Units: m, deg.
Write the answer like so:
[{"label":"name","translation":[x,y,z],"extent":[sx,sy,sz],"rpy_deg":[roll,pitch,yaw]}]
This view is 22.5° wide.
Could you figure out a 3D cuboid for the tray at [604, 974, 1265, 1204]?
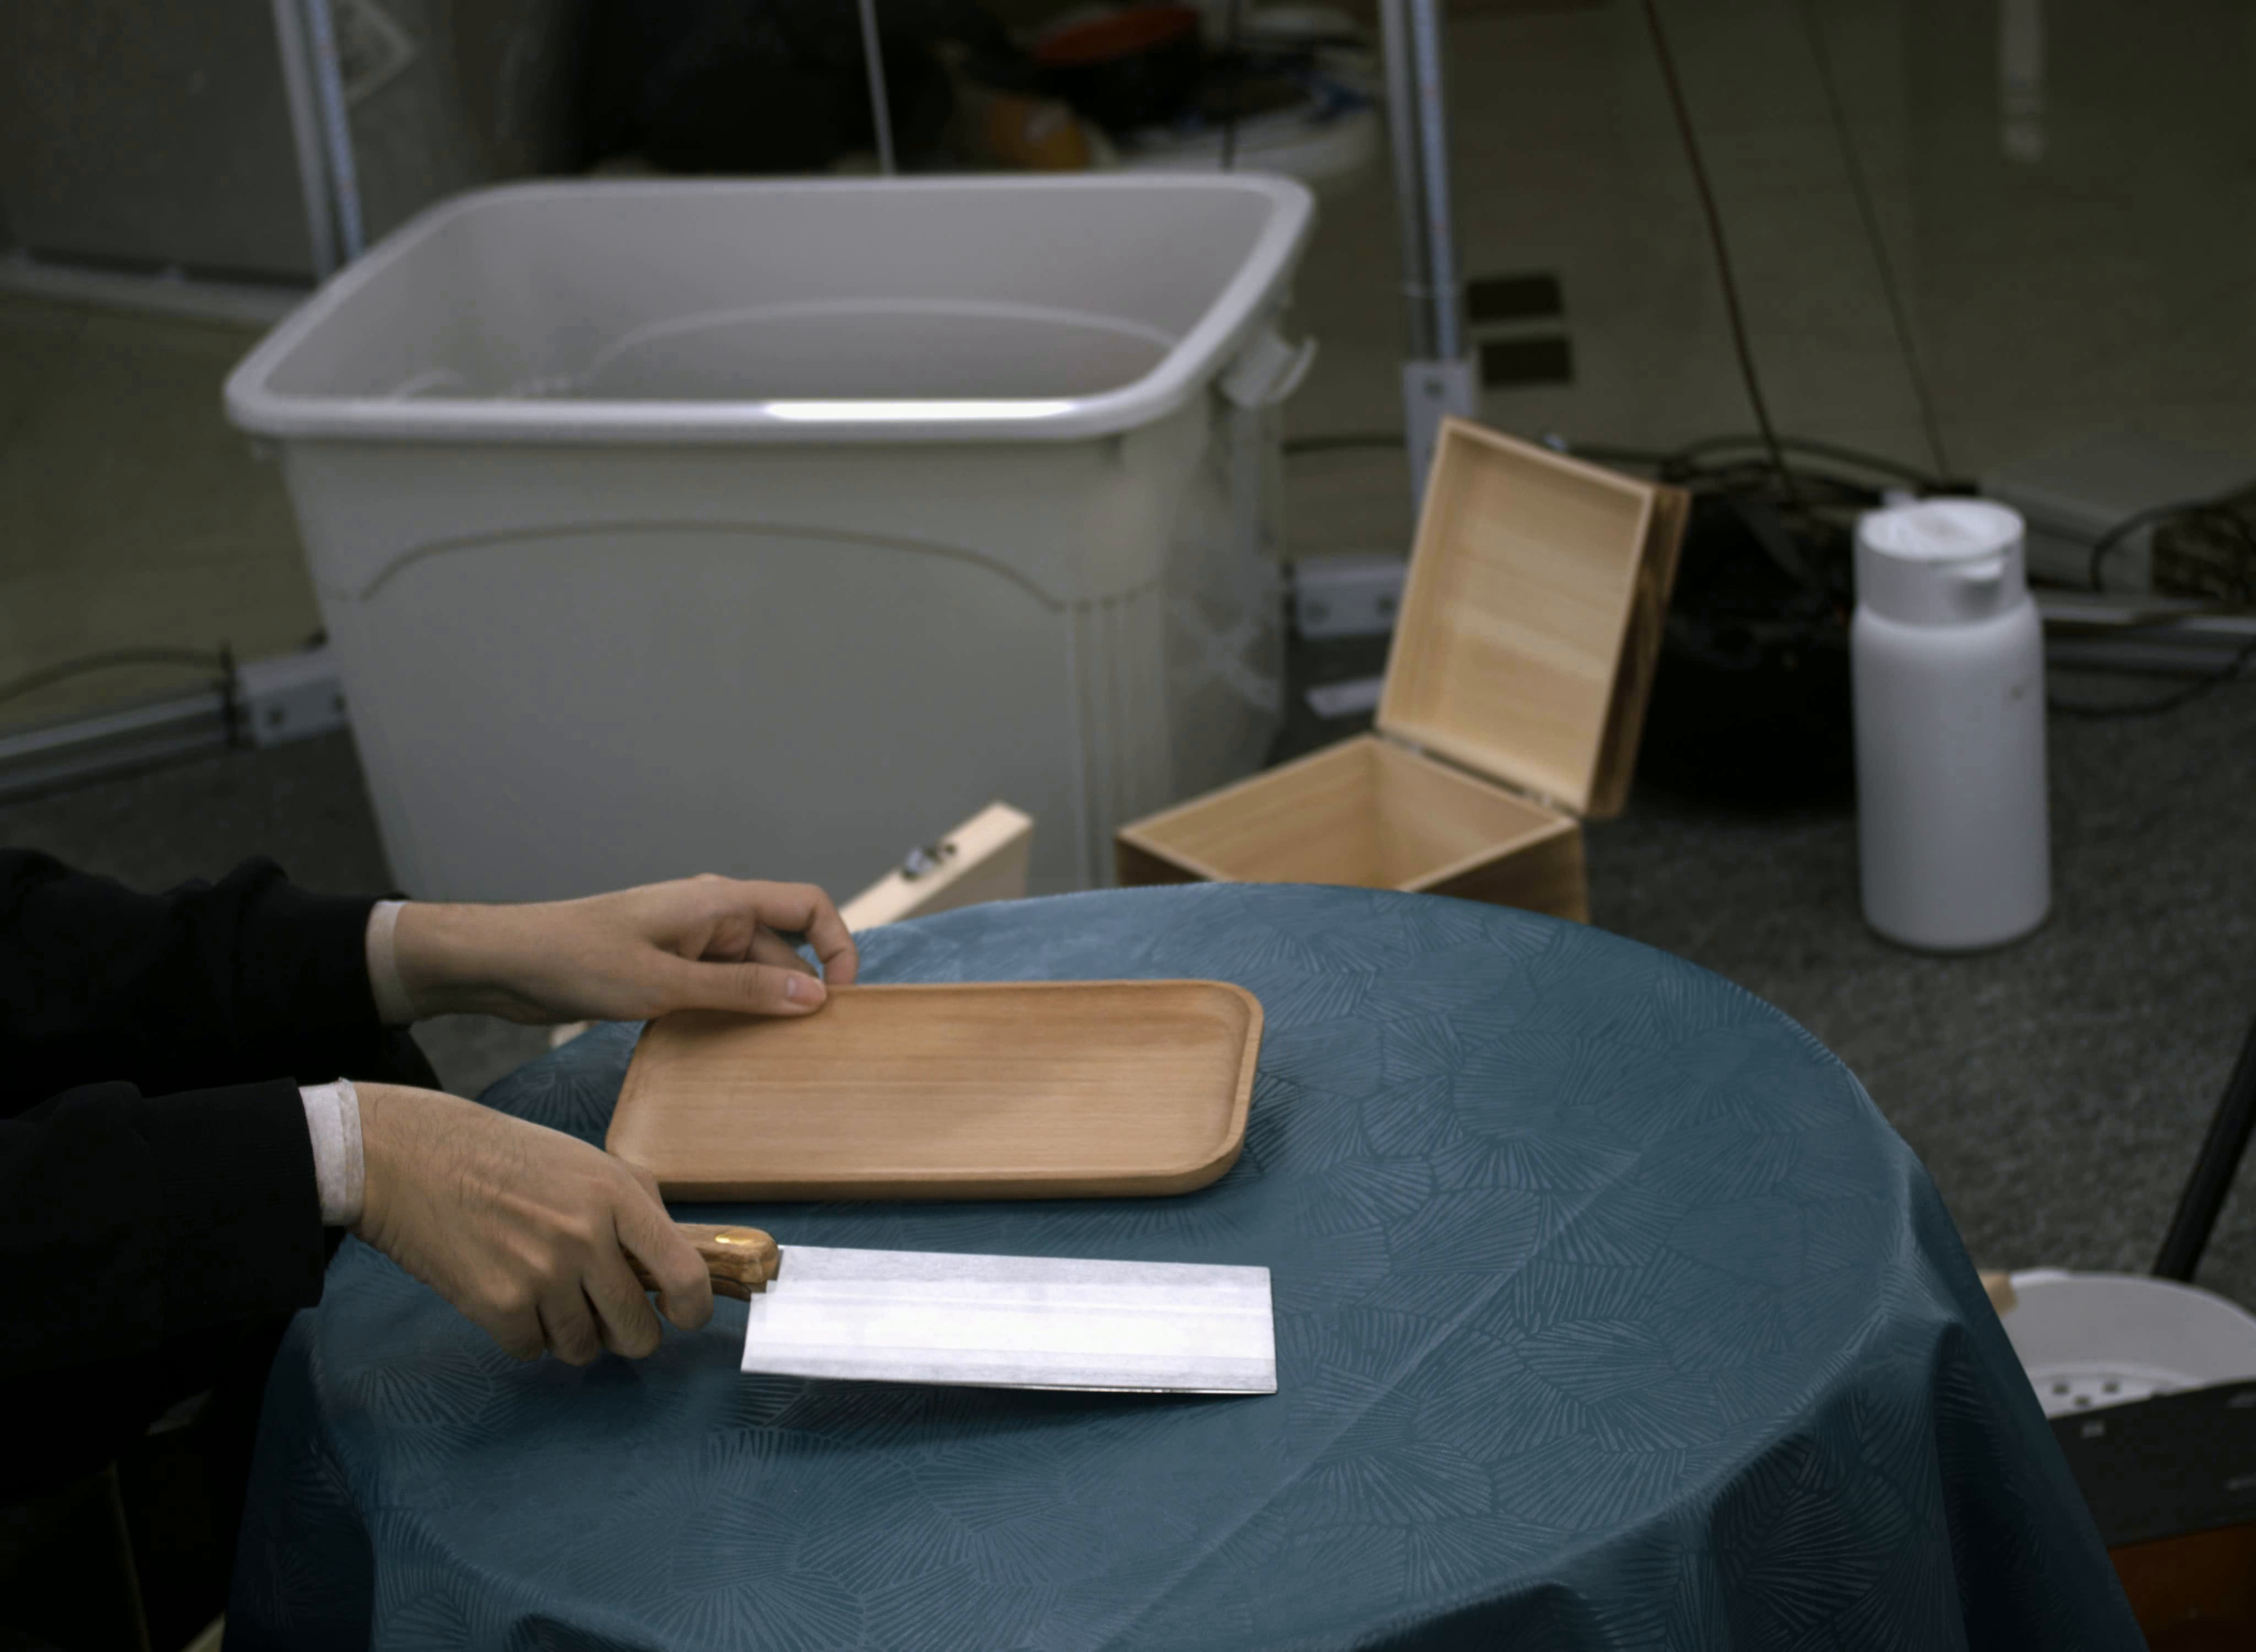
[{"label":"tray","translation":[-0.074,0.103,2.200],"extent":[0.250,0.023,0.128],"rpy_deg":[-2,33,12]}]

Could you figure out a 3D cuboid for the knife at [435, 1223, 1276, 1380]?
[{"label":"knife","translation":[-0.099,0.173,2.039],"extent":[0.305,0.021,0.091],"rpy_deg":[3,25,-2]}]
